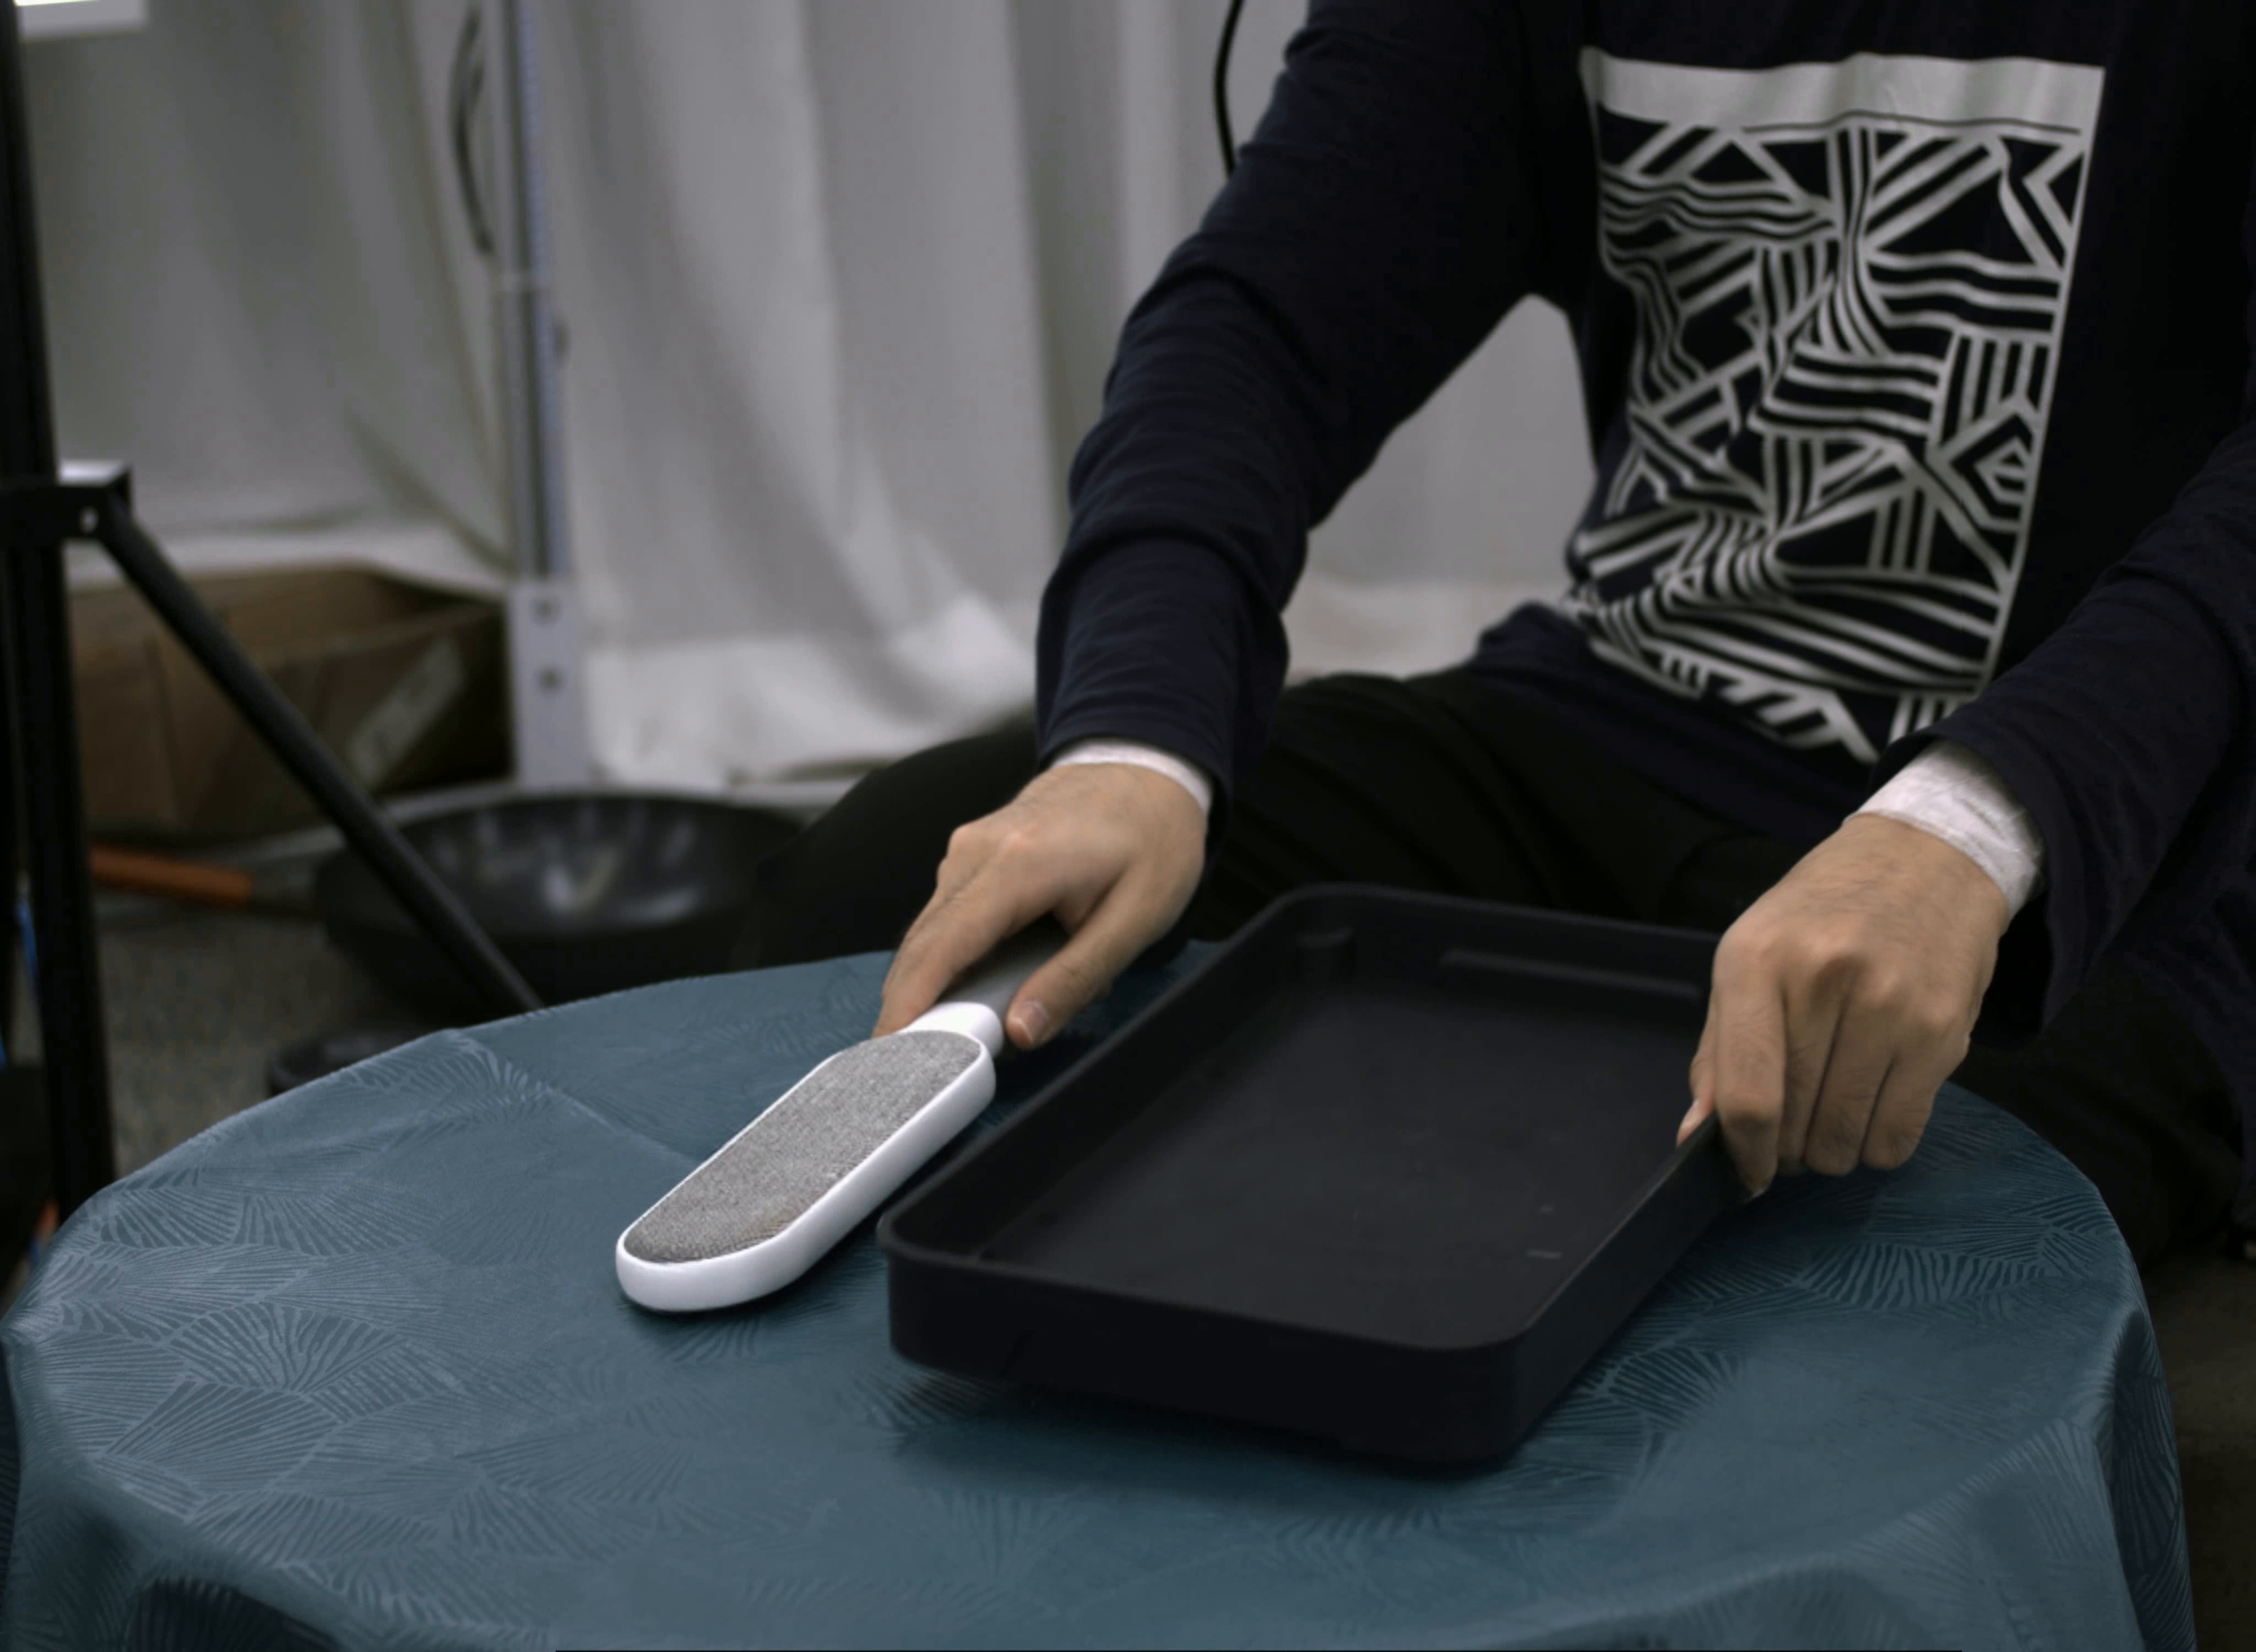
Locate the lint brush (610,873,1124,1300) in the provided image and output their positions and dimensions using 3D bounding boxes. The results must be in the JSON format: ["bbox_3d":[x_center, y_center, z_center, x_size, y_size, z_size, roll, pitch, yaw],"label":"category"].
[{"bbox_3d":[-0.068,0.074,1.601,0.061,0.021,0.305,-8,16,27],"label":"lint brush"}]

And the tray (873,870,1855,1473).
[{"bbox_3d":[0.074,0.089,1.489,0.187,0.037,0.313,10,22,24],"label":"tray"}]
